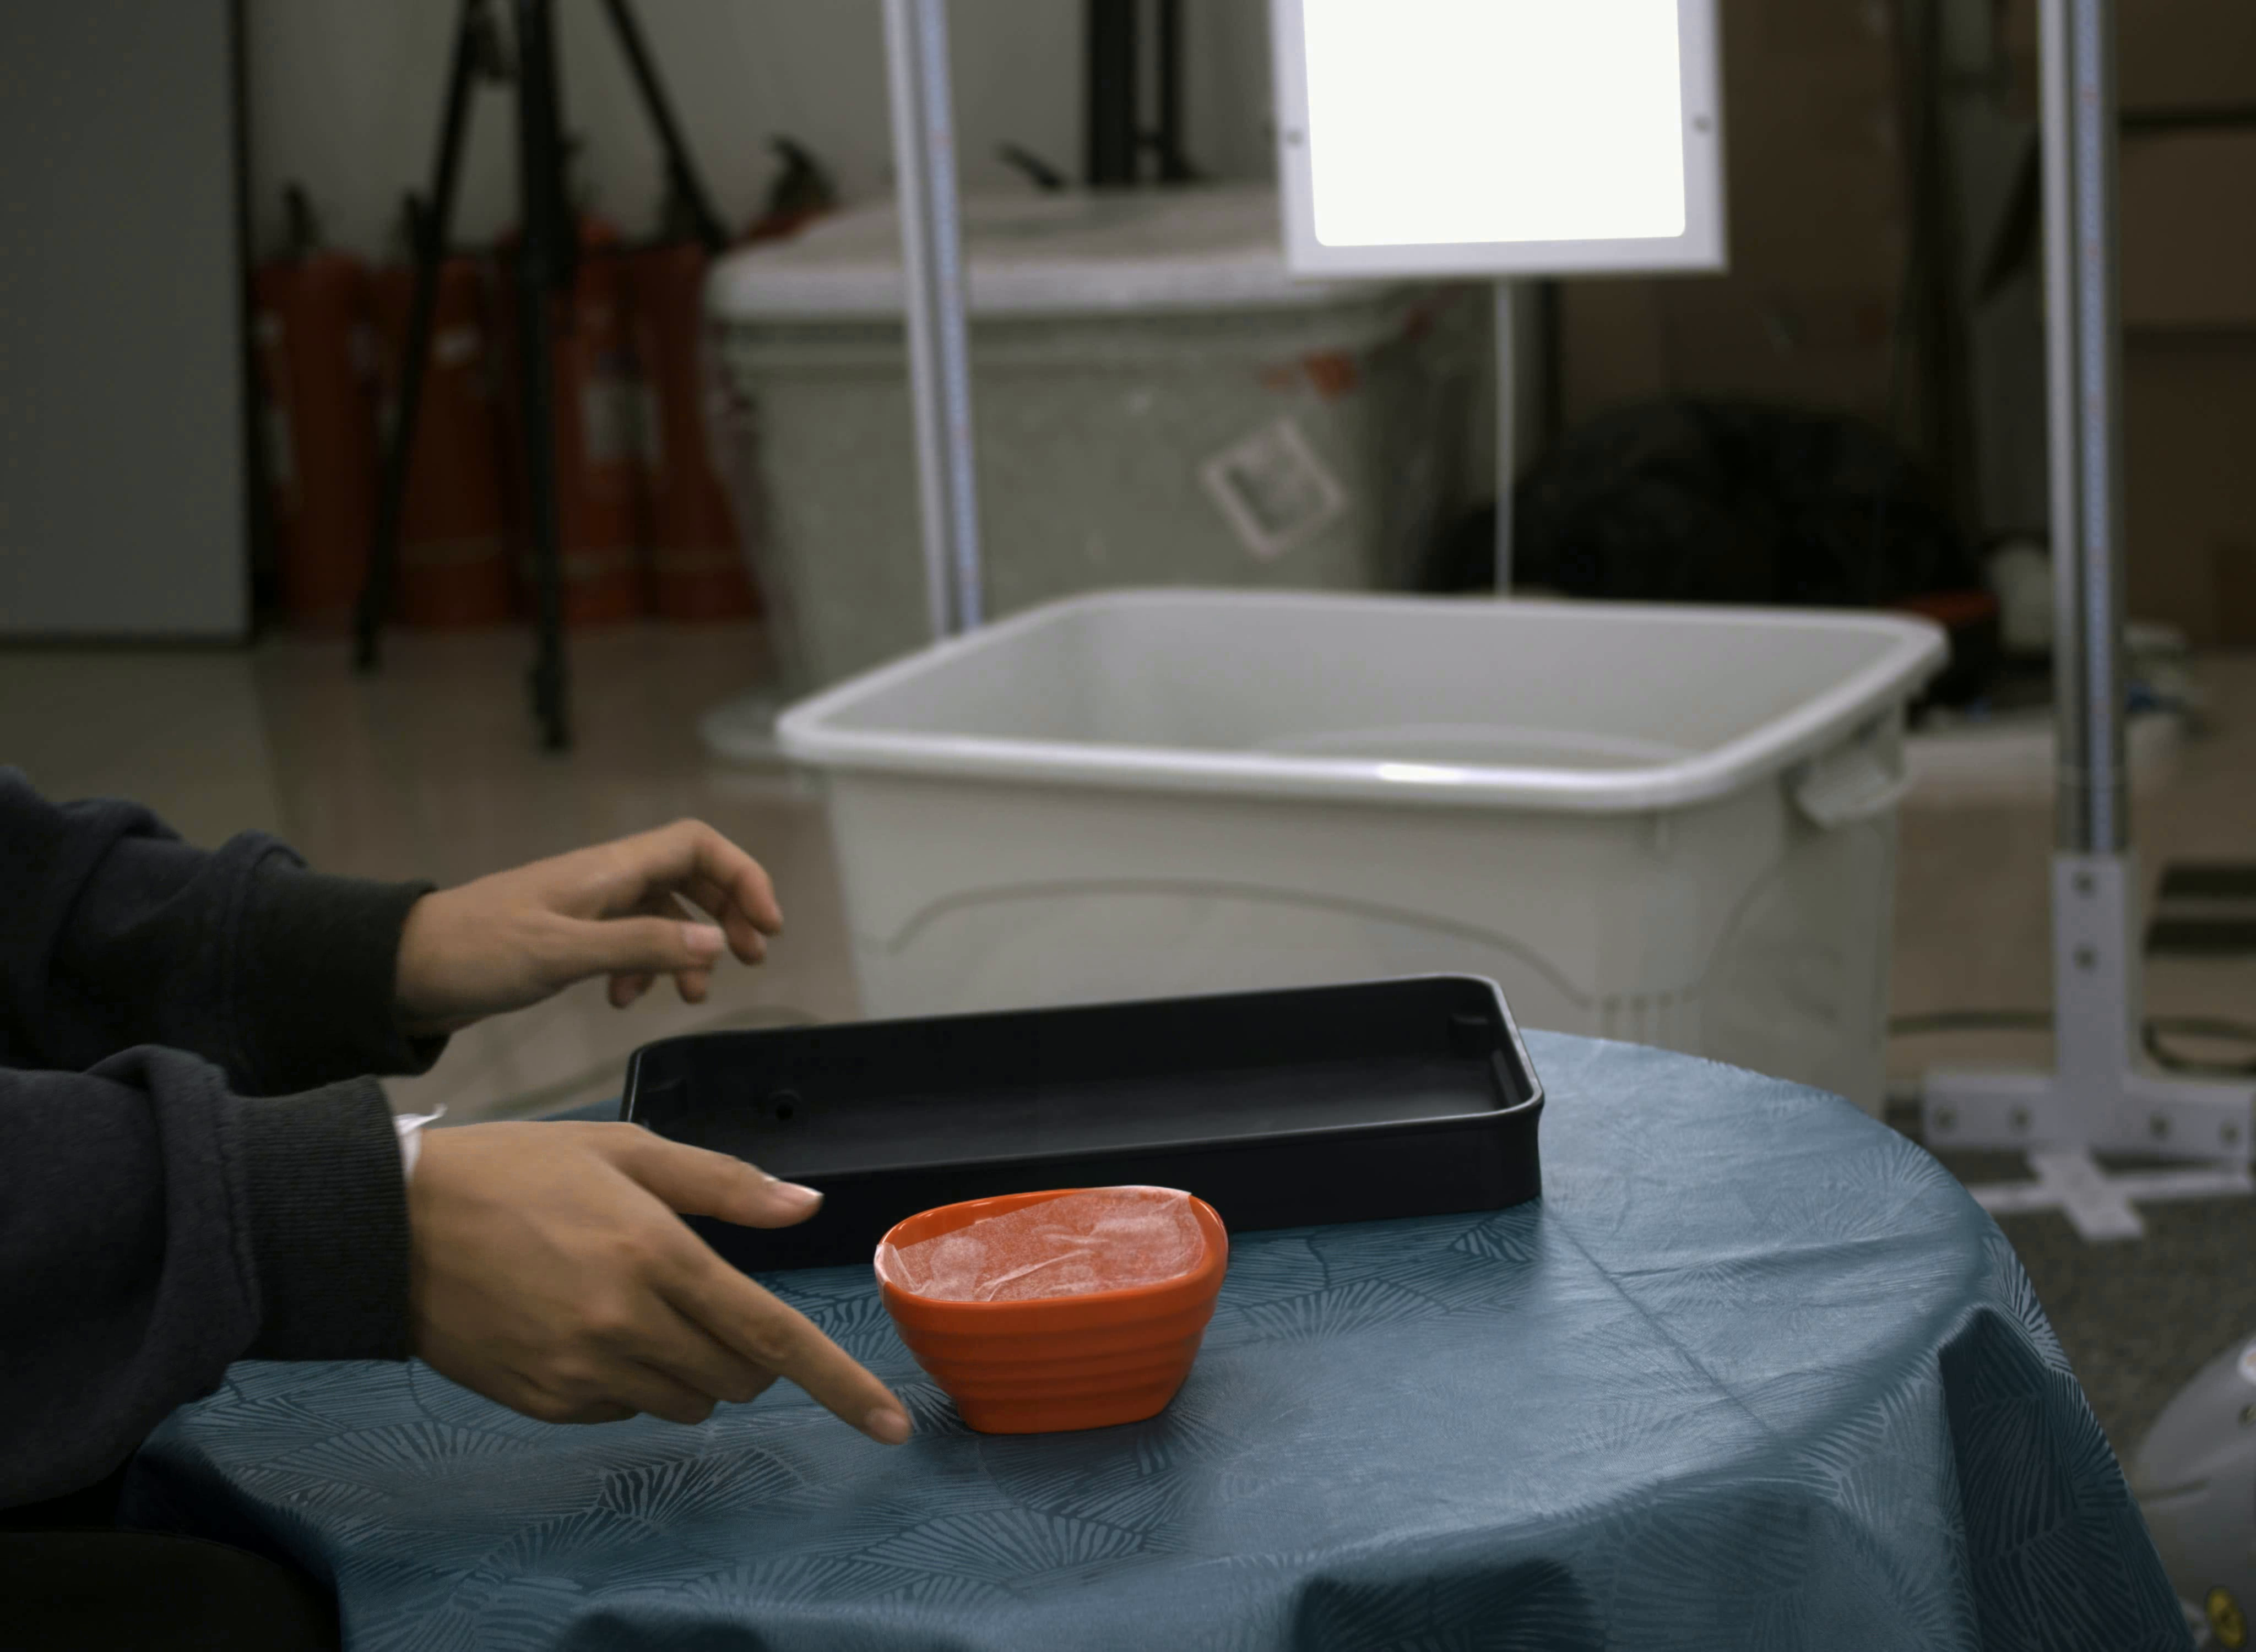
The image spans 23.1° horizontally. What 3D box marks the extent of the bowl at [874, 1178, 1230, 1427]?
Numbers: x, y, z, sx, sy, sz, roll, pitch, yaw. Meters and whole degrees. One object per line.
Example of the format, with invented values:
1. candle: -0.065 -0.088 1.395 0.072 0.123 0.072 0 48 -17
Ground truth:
1. bowl: -0.022 0.149 1.695 0.118 0.051 0.119 -3 15 -1

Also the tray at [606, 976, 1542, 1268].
1. tray: -0.020 0.101 1.925 0.317 0.037 0.184 -4 13 1
